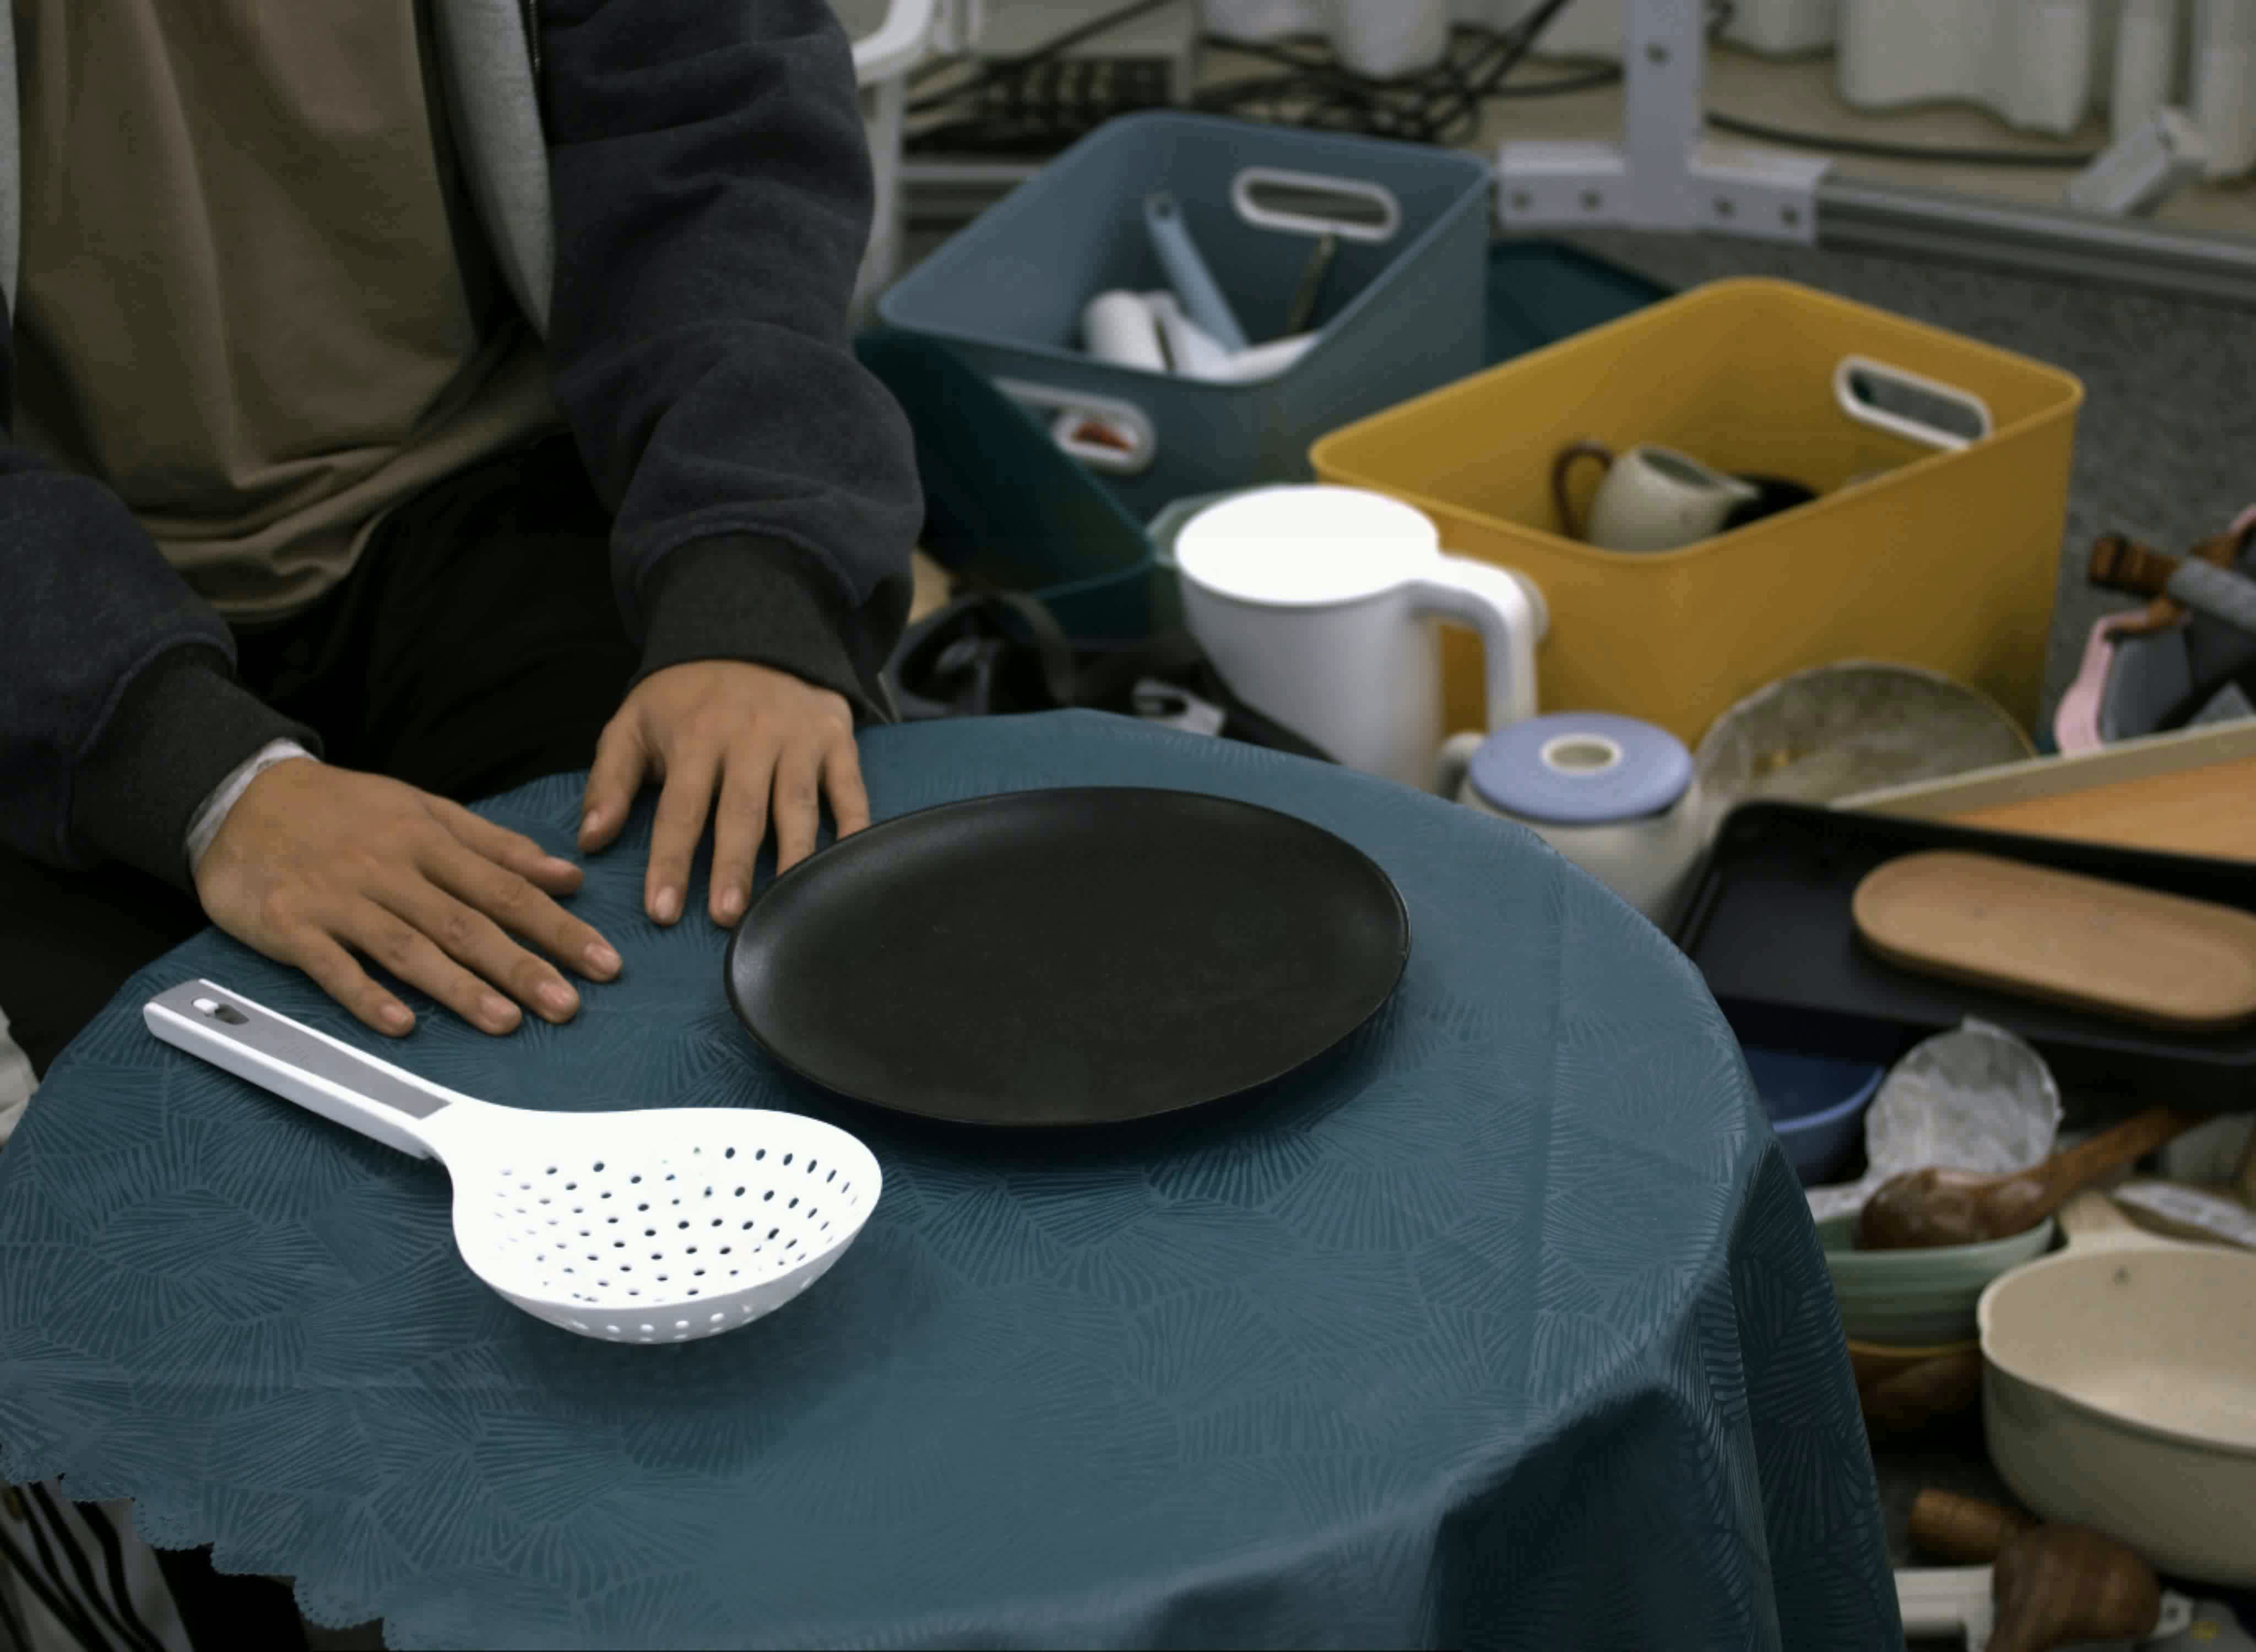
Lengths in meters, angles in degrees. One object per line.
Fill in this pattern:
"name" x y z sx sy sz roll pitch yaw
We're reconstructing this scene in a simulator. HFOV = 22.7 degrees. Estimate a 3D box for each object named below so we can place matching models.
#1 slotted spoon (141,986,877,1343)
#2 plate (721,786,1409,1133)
"slotted spoon" -0.221 0.105 1.868 0.137 0.045 0.349 -24 33 -38
"plate" -0.022 0.051 1.975 0.243 0.023 0.248 -2 27 1
